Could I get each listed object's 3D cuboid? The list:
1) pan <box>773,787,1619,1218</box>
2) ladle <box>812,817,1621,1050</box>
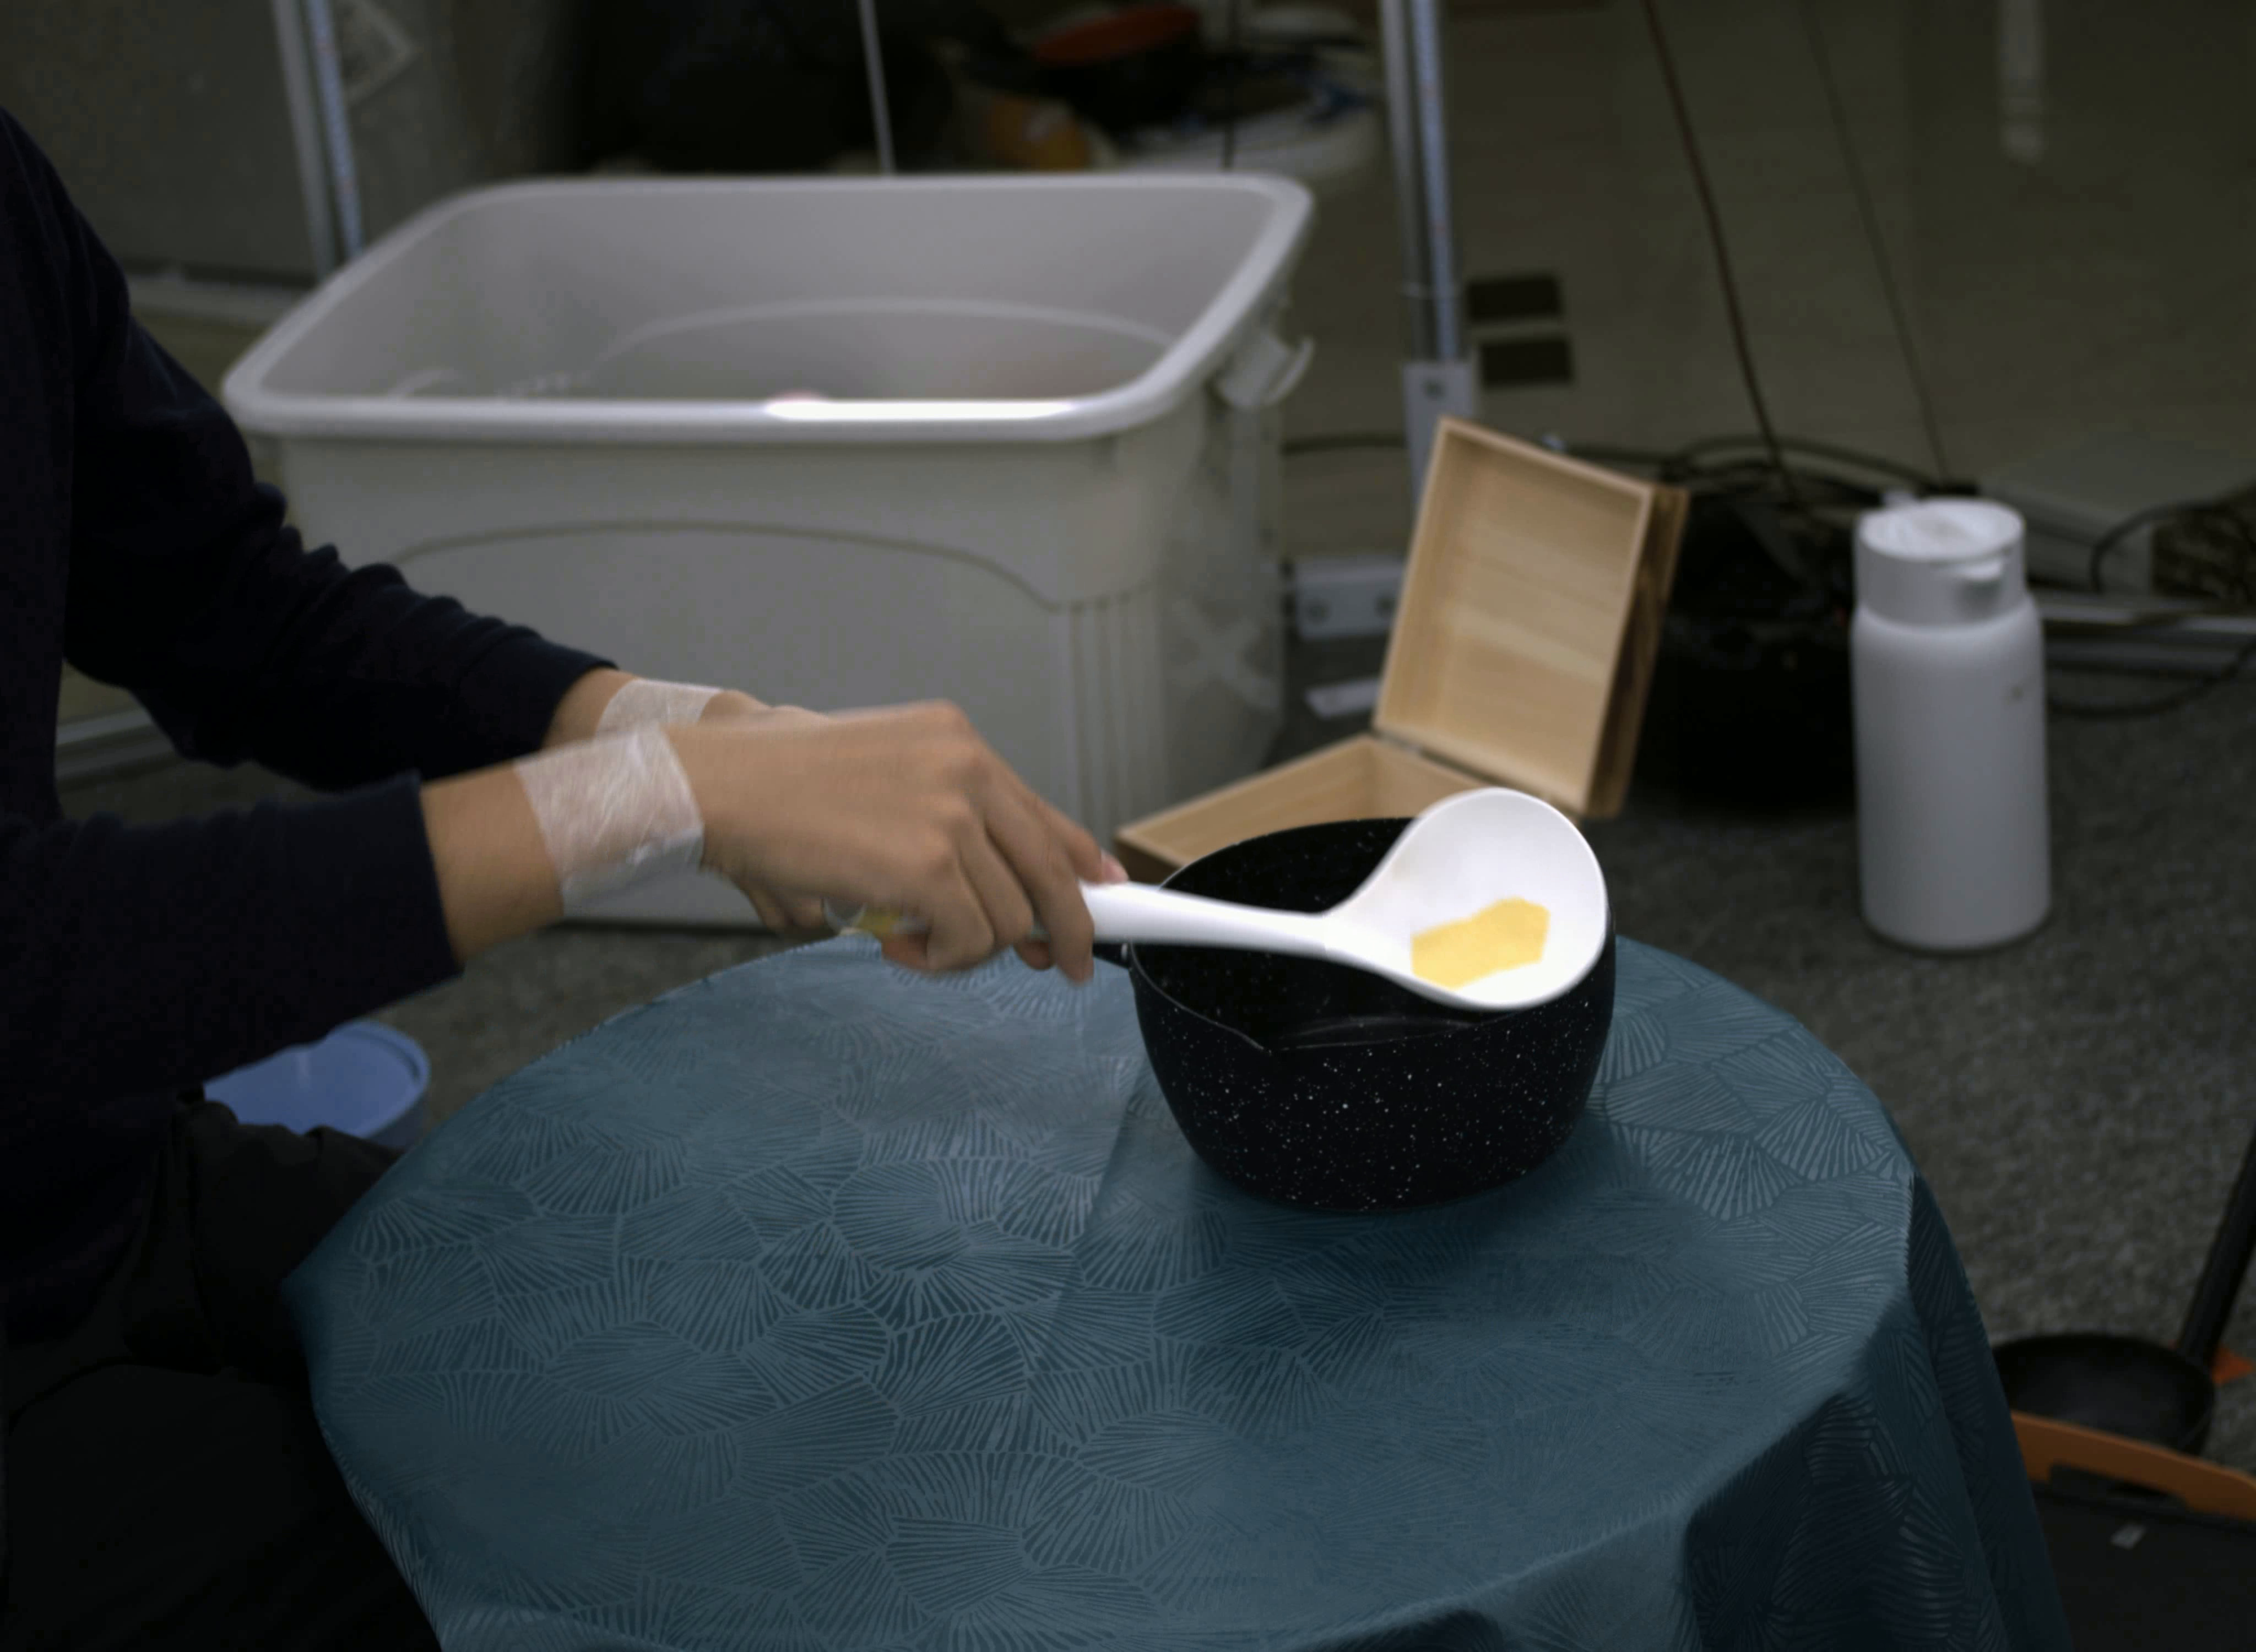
[{"bbox_3d":[0.021,0.056,2.177,0.341,0.110,0.204,7,30,20],"label":"pan"},{"bbox_3d":[0.034,0.032,1.965,0.293,0.071,0.089,6,62,-31],"label":"ladle"}]
